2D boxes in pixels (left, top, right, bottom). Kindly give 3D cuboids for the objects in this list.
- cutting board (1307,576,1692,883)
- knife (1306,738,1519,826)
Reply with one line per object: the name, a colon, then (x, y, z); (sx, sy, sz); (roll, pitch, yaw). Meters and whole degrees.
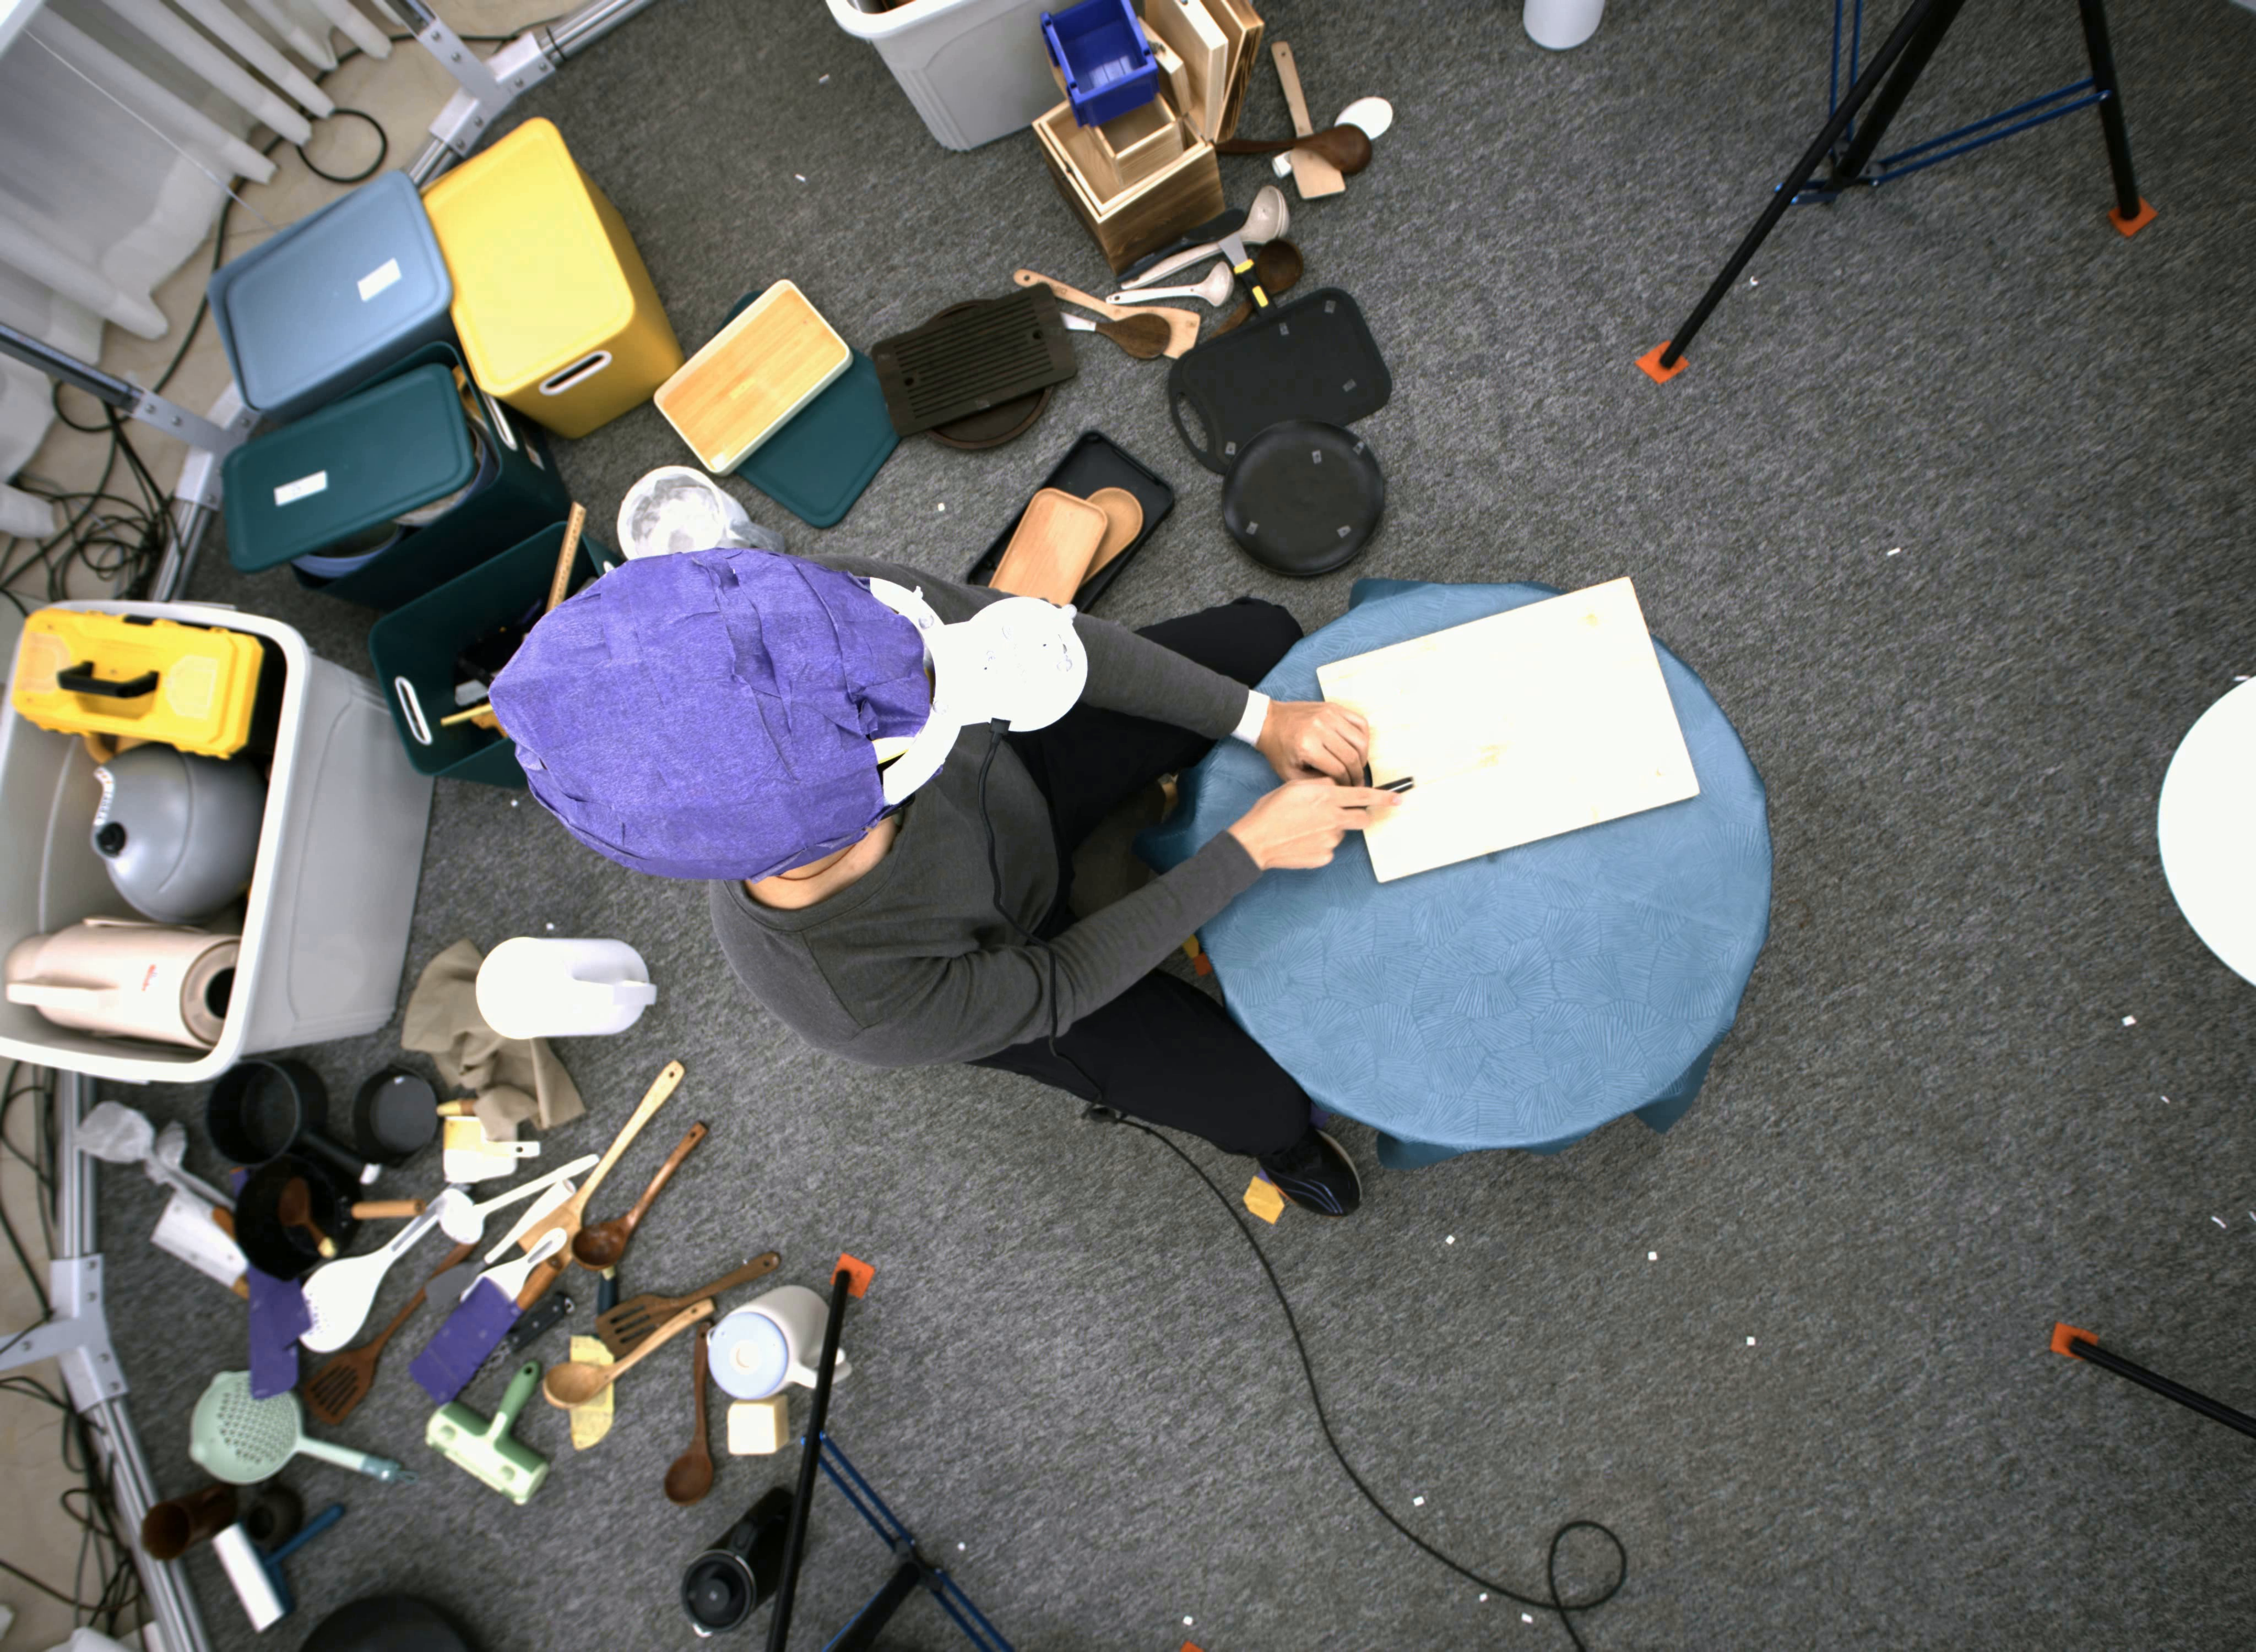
cutting board: (0.388, -0.102, 1.440); (0.350, 0.023, 0.249); (-17, 83, 9)
knife: (0.295, -0.049, 1.417); (0.238, 0.024, 0.016); (-22, 89, 0)
